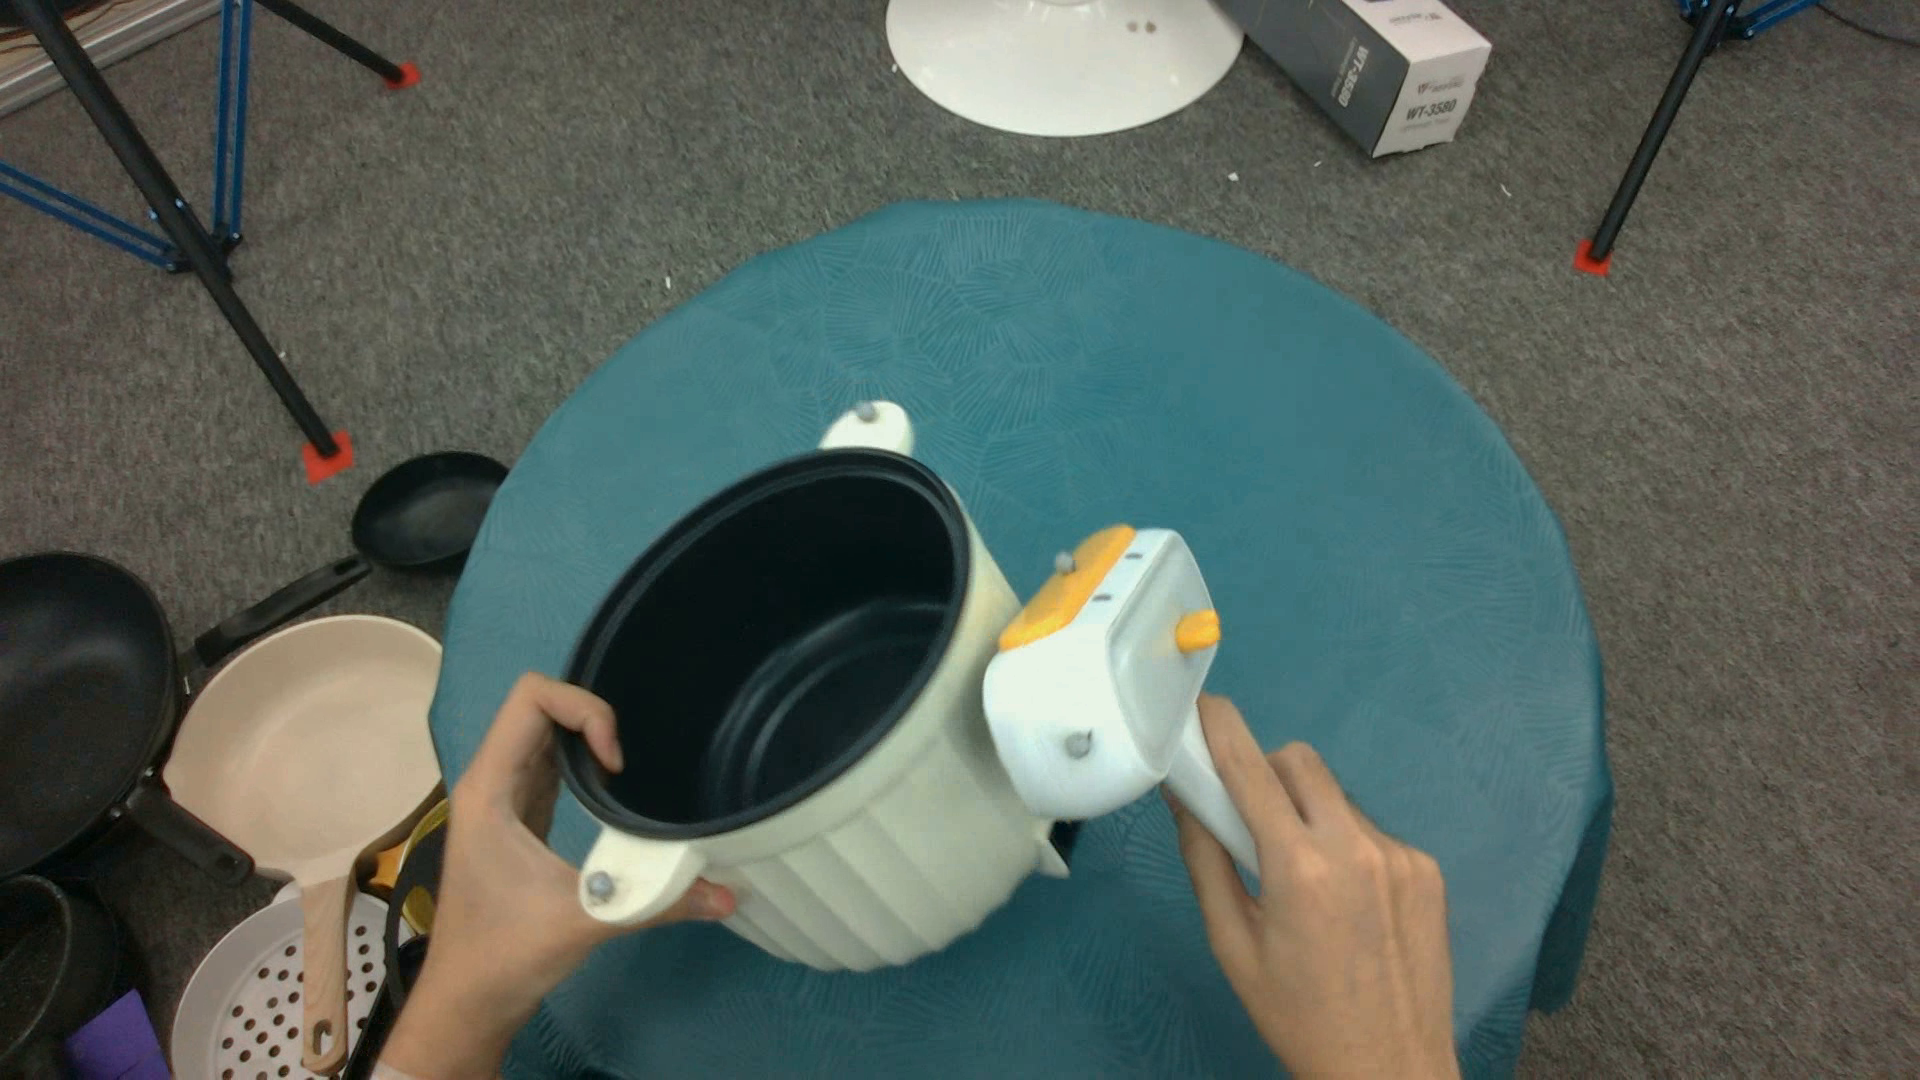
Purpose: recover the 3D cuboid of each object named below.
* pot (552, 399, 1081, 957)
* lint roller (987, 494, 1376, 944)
[{"bbox_3d":[-0.055,0.072,0.565,0.190,0.142,0.241,5,50,30],"label":"pot"},{"bbox_3d":[0.090,0.081,0.529,0.074,0.193,0.192,-29,99,16],"label":"lint roller"}]
